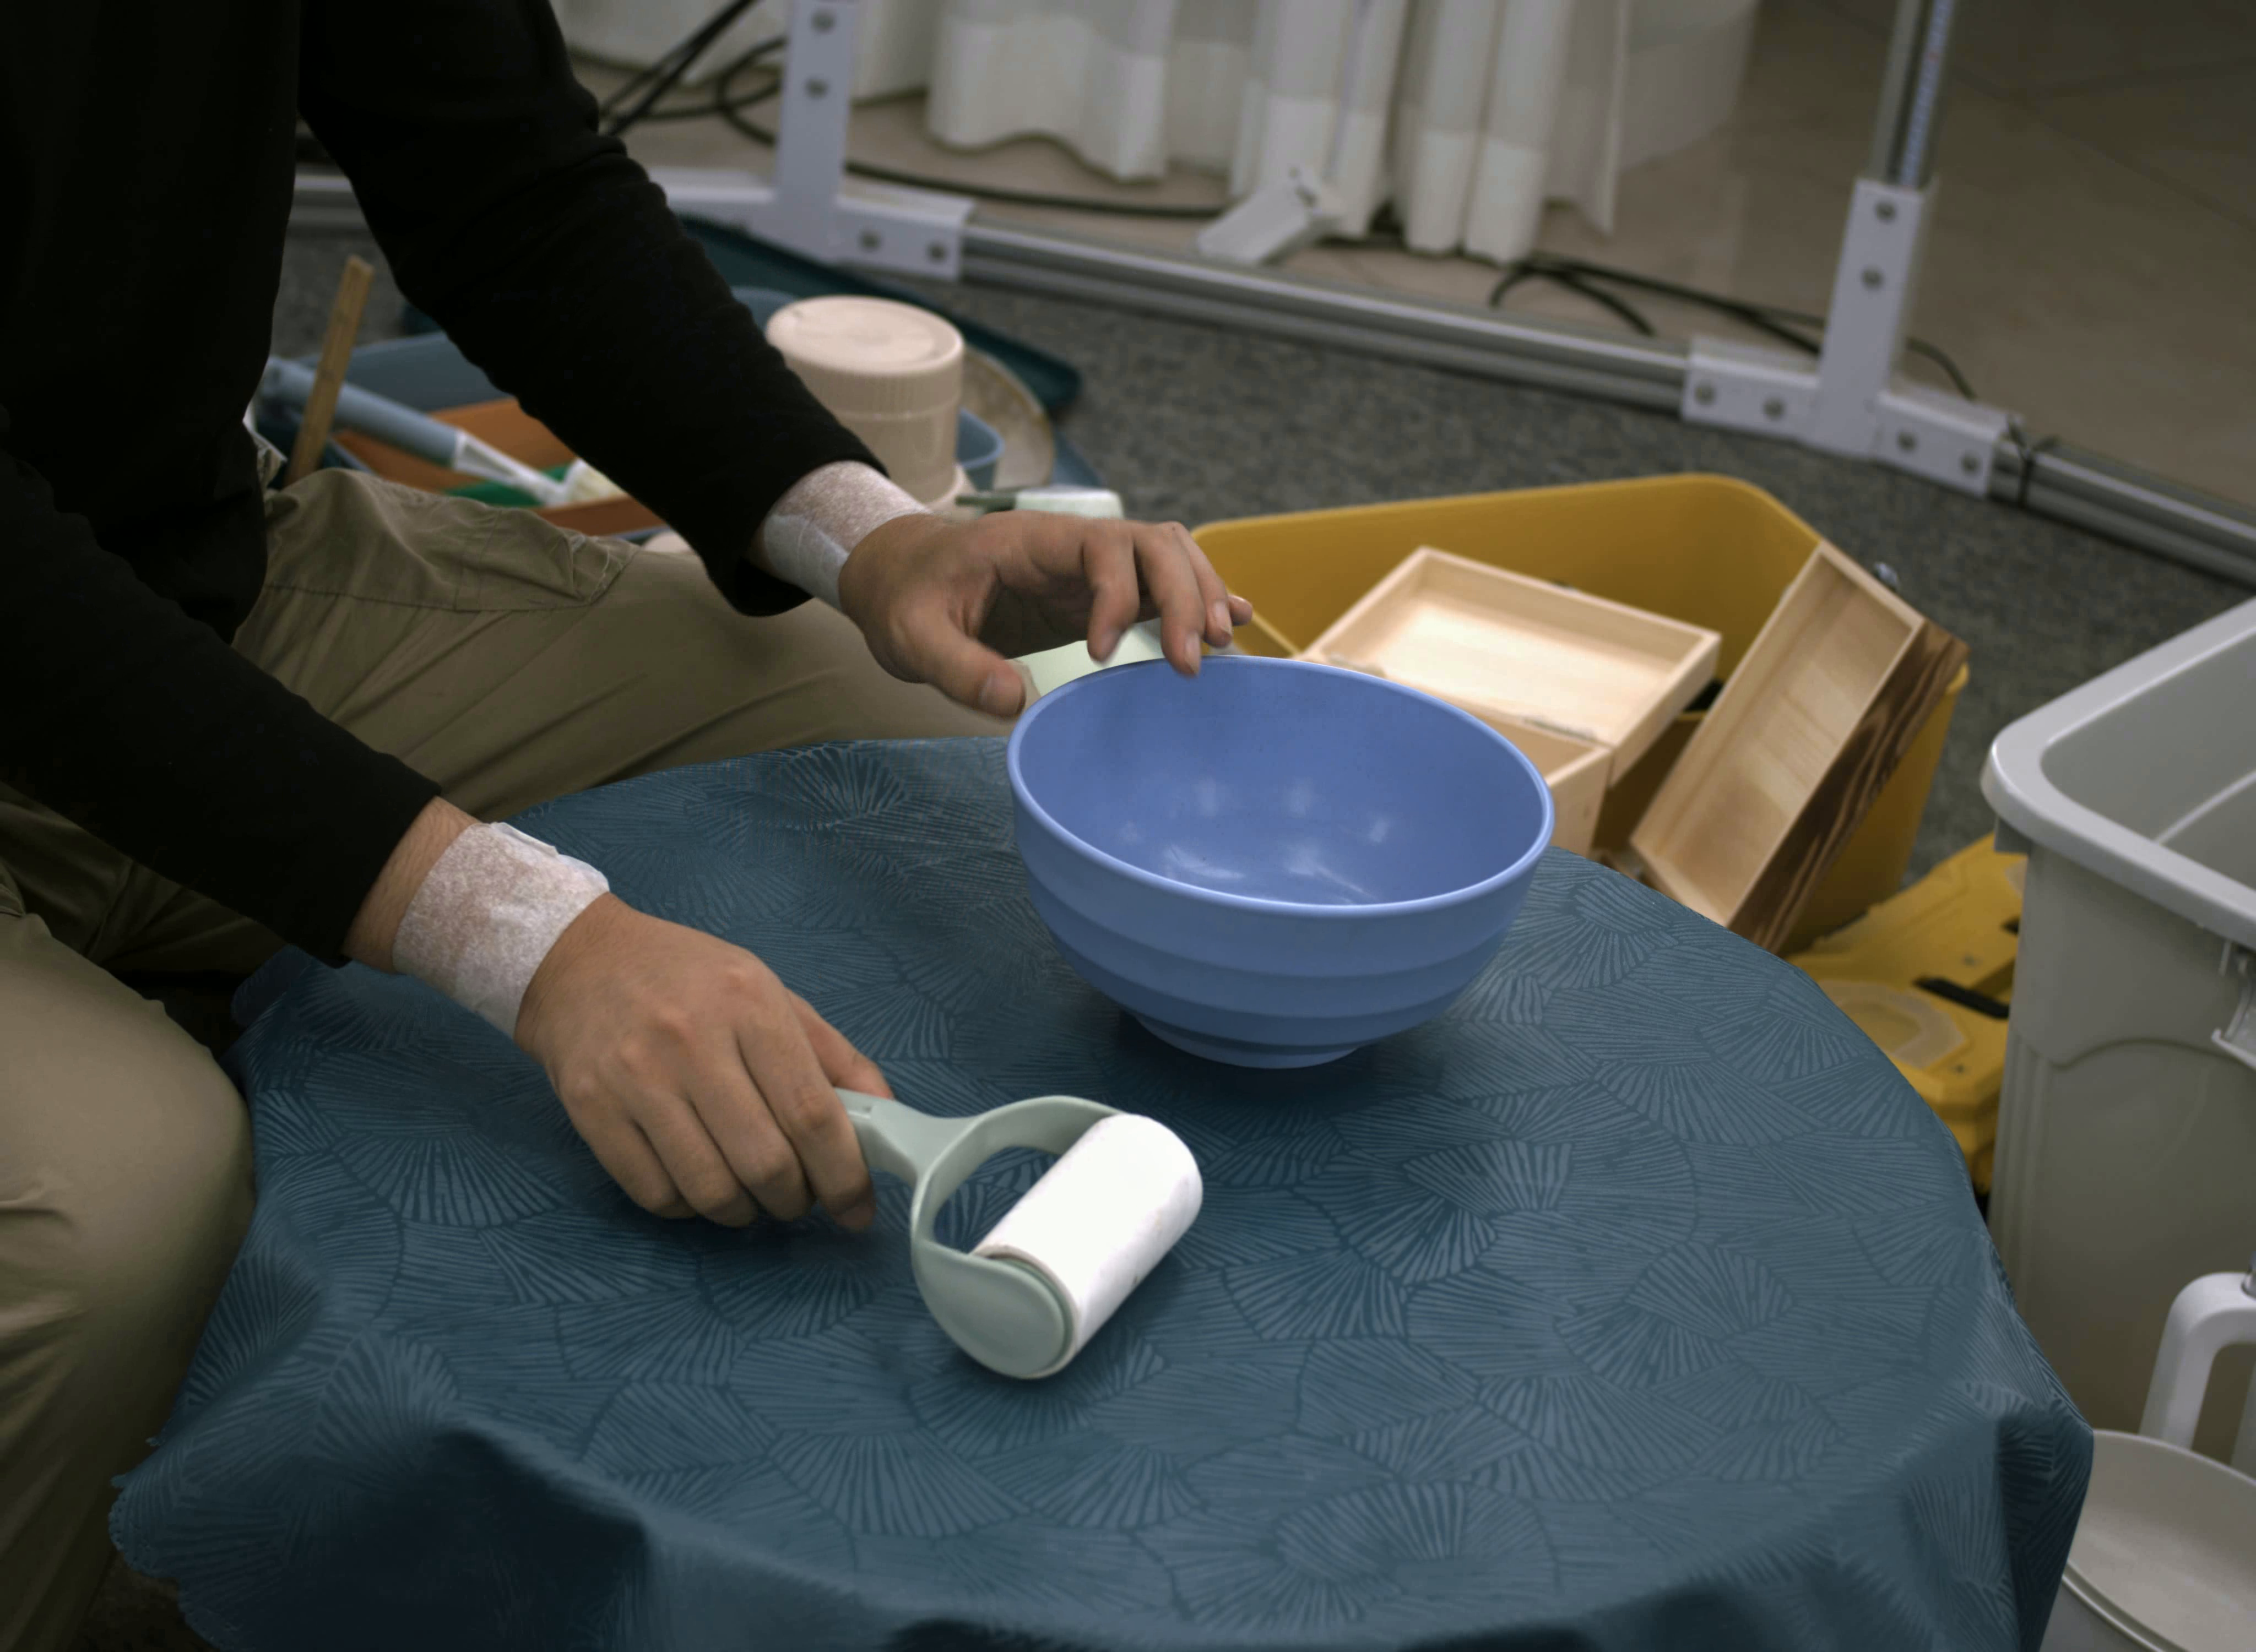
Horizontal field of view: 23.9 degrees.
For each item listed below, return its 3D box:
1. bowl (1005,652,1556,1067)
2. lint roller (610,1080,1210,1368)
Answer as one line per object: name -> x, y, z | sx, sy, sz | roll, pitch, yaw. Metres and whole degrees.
bowl -> 0.050, 0.023, 1.905 | 0.196, 0.095, 0.198 | 4, 28, -3
lint roller -> -0.079, 0.111, 1.751 | 0.198, 0.048, 0.116 | 18, 31, 18
